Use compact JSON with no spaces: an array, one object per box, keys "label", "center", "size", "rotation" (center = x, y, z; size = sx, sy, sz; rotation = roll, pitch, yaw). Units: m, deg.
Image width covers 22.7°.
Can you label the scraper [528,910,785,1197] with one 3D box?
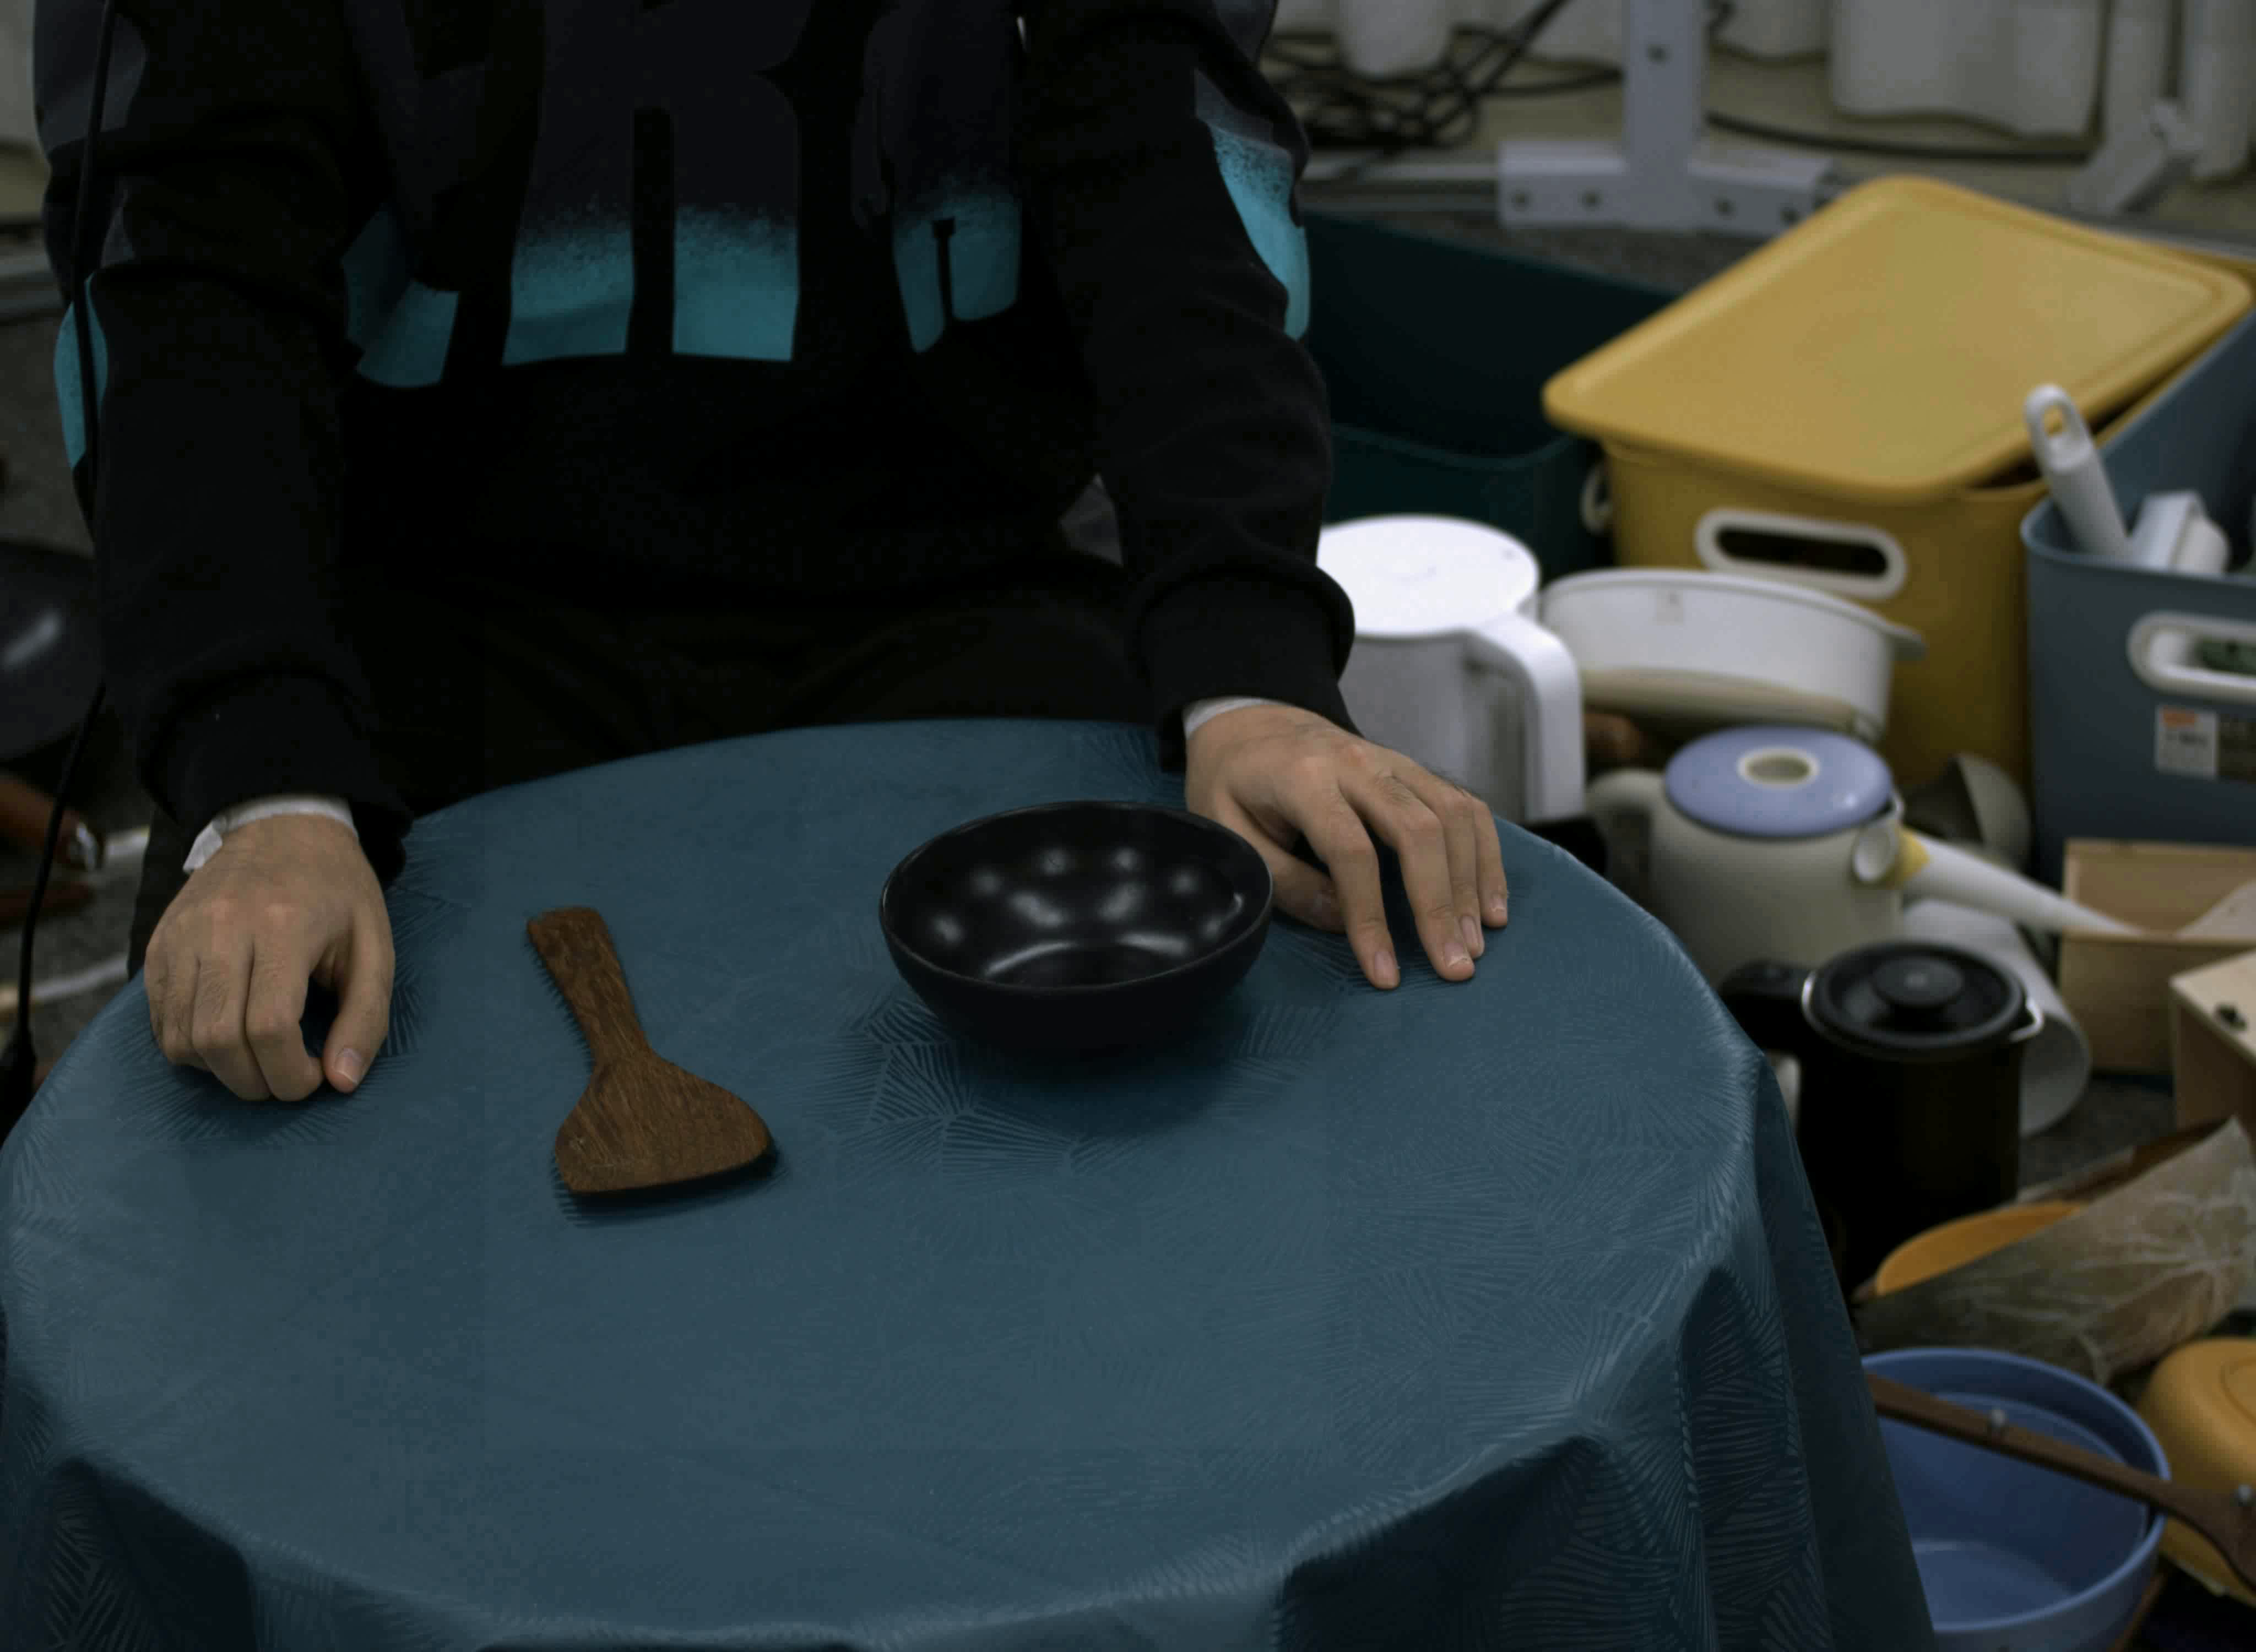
[{"label":"scraper","center":[-0.177,0.078,1.955],"size":[0.076,0.011,0.213],"rotation":[-9,27,-14]}]

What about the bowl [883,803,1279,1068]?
[{"label":"bowl","center":[-0.014,0.046,1.959],"size":[0.139,0.049,0.142],"rotation":[-5,27,3]}]
